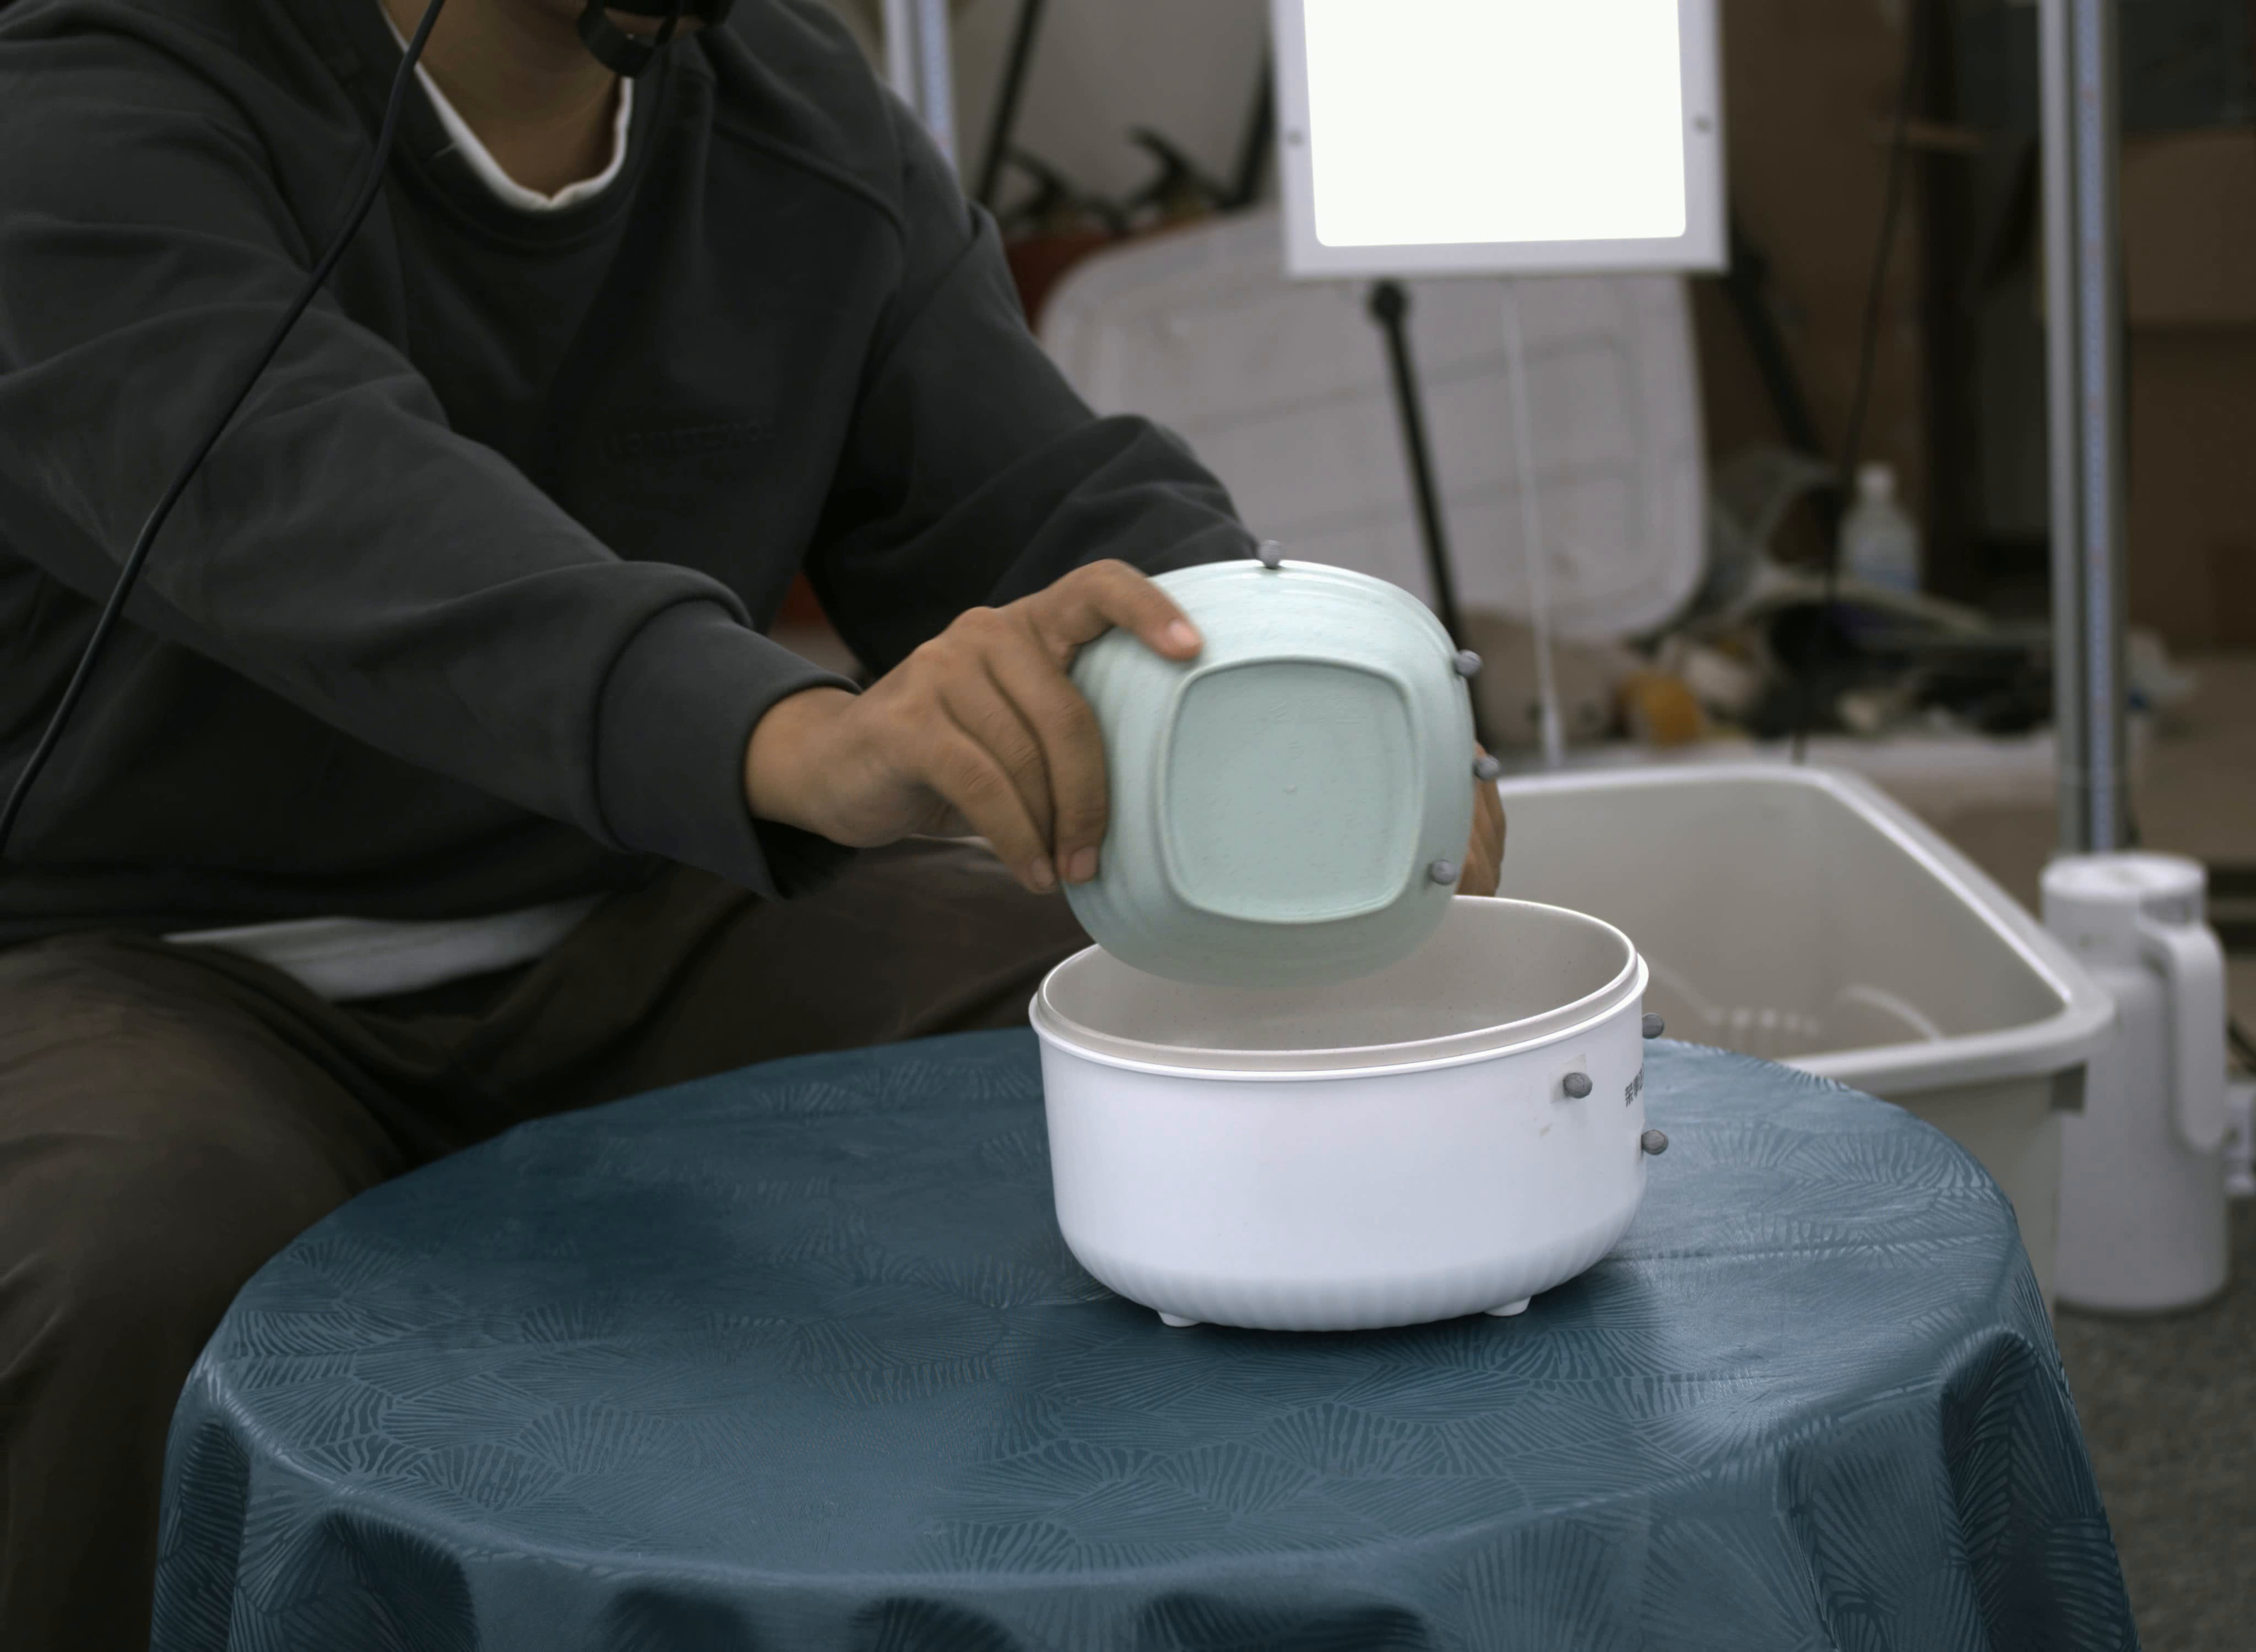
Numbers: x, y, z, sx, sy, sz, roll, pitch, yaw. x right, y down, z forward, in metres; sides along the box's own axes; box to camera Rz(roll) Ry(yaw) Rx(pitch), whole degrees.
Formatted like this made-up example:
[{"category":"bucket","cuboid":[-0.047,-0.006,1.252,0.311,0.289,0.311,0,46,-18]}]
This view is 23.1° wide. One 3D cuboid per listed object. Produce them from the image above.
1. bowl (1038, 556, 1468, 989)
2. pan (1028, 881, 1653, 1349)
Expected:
[{"category":"bowl","cuboid":[0.043,-0.013,1.729,0.150,0.152,0.059,-5,8,-3]},{"category":"pan","cuboid":[0.081,0.084,1.862,0.202,0.102,0.352,-6,12,8]}]
